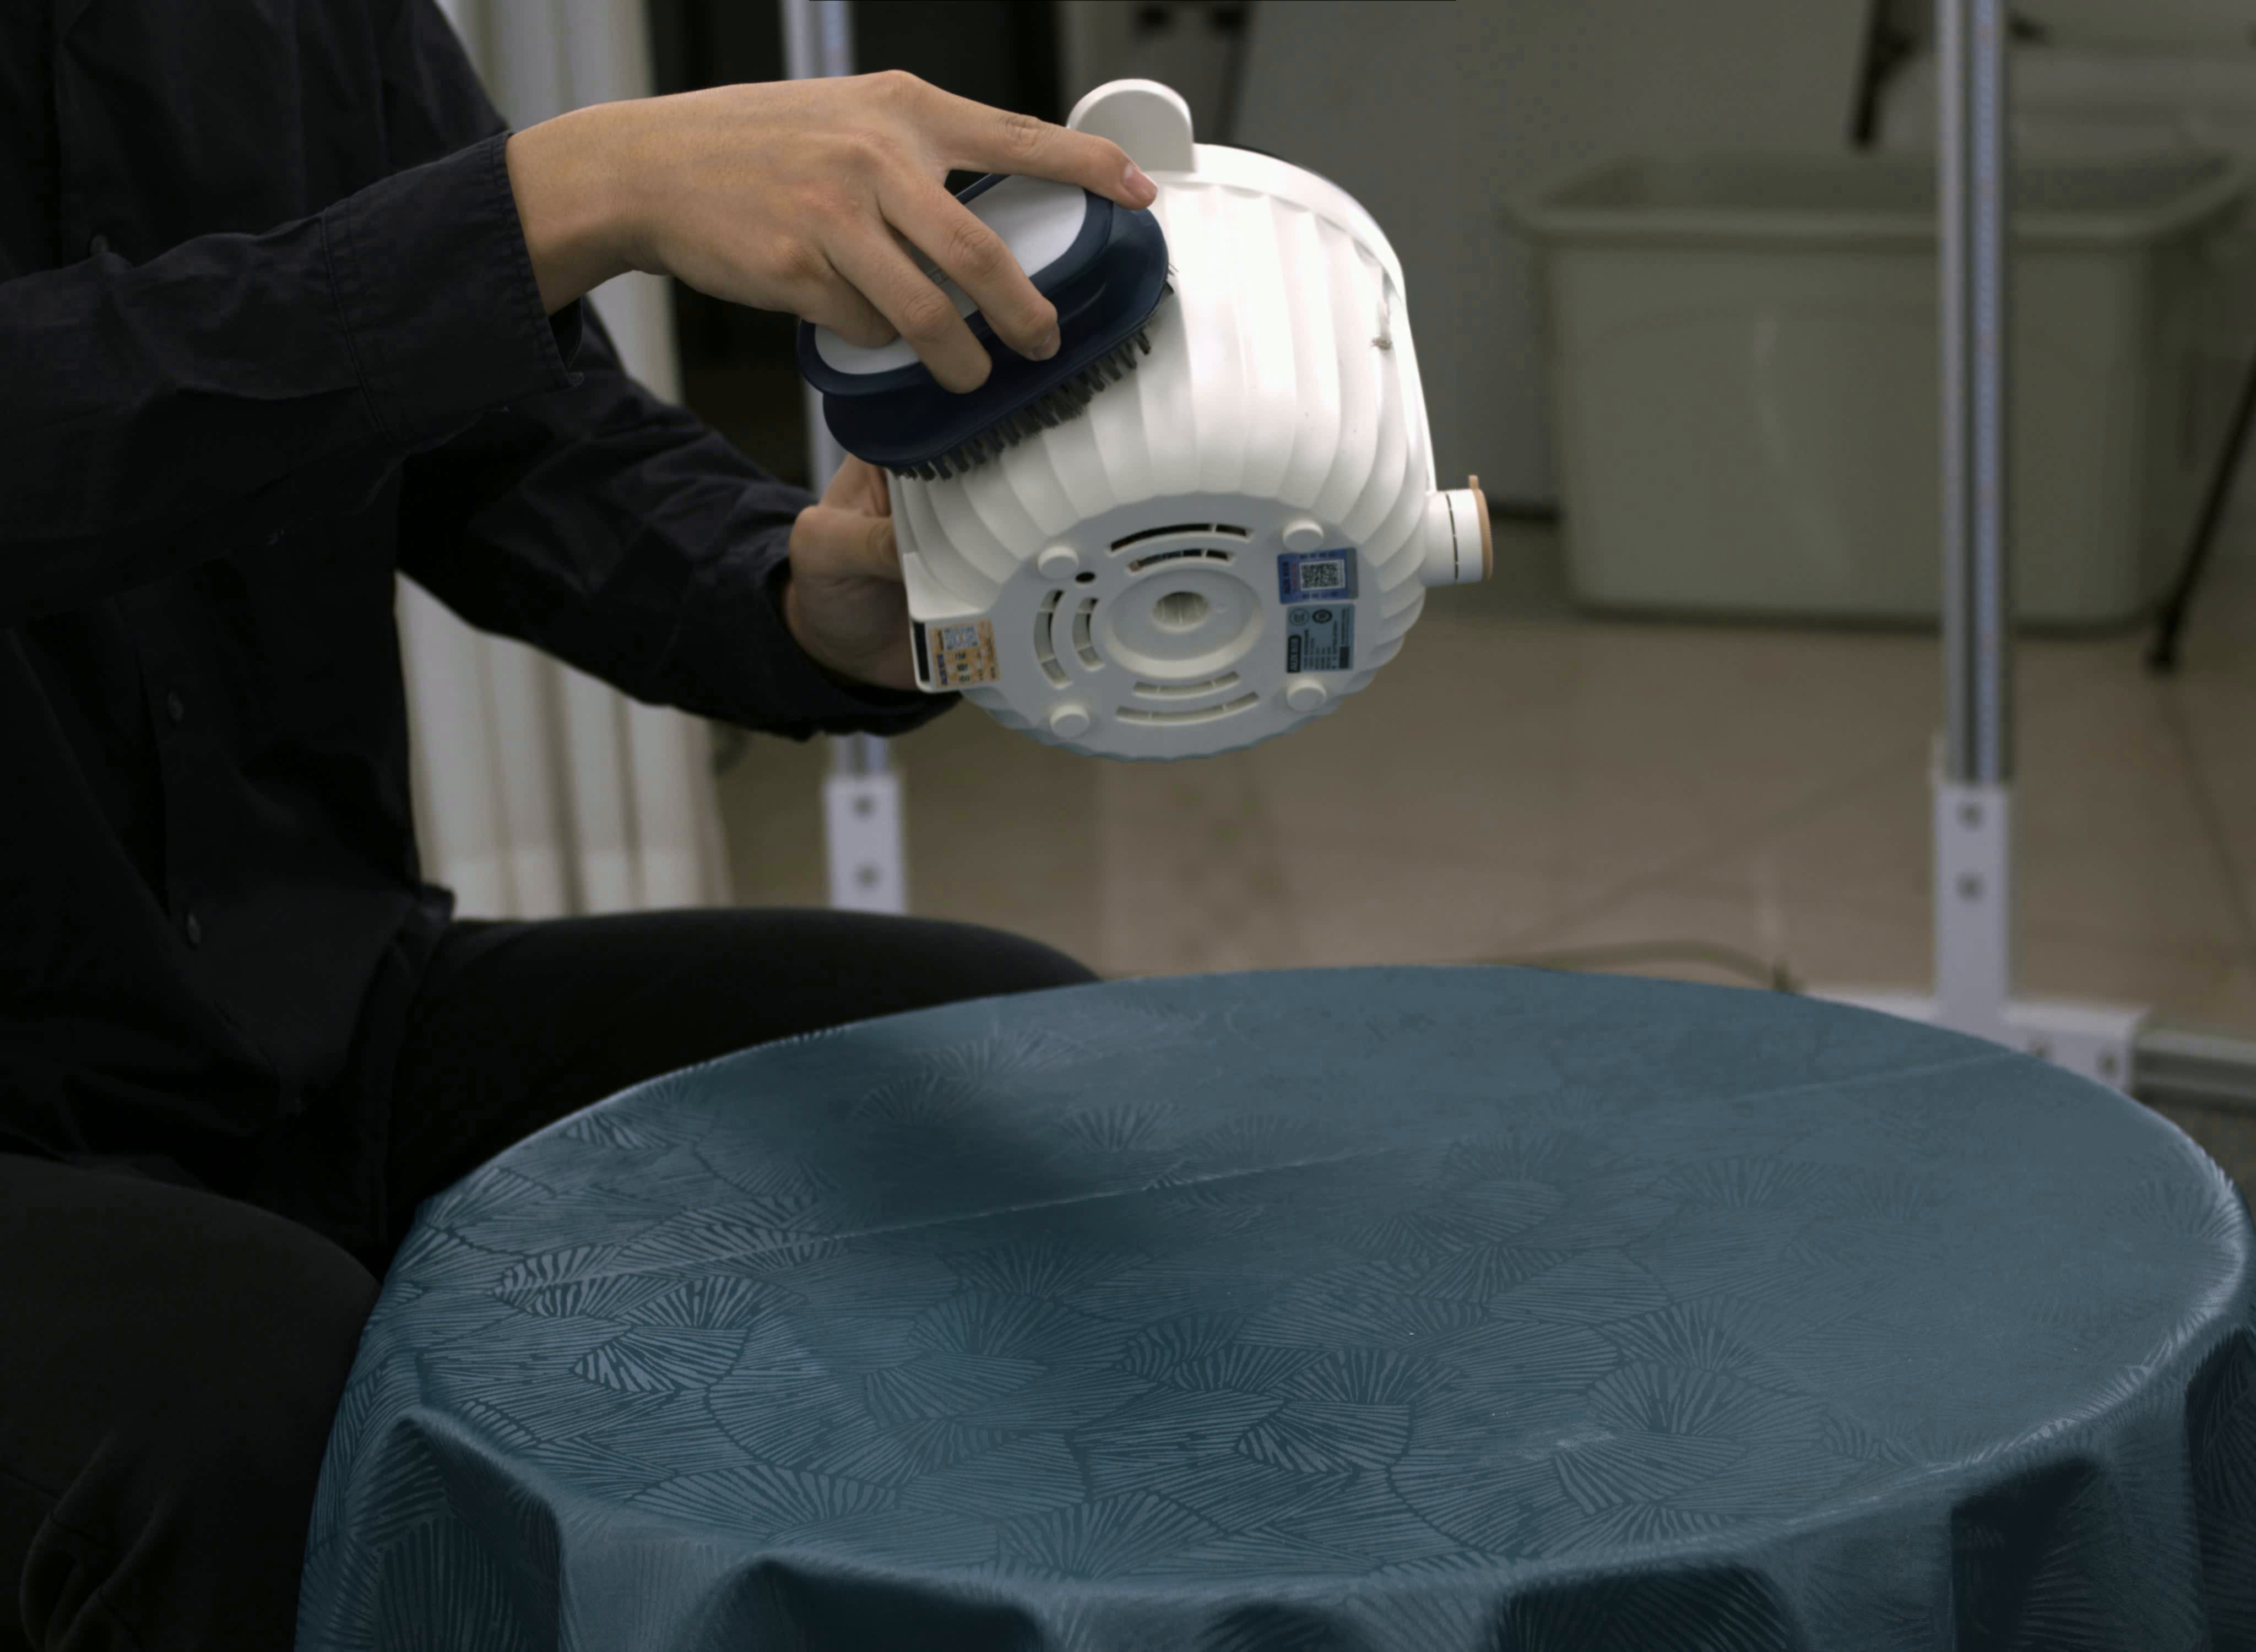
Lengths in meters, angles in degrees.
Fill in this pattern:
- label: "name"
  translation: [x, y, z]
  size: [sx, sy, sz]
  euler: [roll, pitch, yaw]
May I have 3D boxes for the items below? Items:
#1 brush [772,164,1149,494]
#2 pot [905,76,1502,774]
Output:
- label: "brush"
  translation: [-0.050, -0.151, 1.669]
  size: [0.121, 0.060, 0.069]
  euler: [-27, 52, 10]
- label: "pot"
  translation: [0.021, -0.112, 1.774]
  size: [0.188, 0.241, 0.144]
  euler: [-7, 51, -4]
